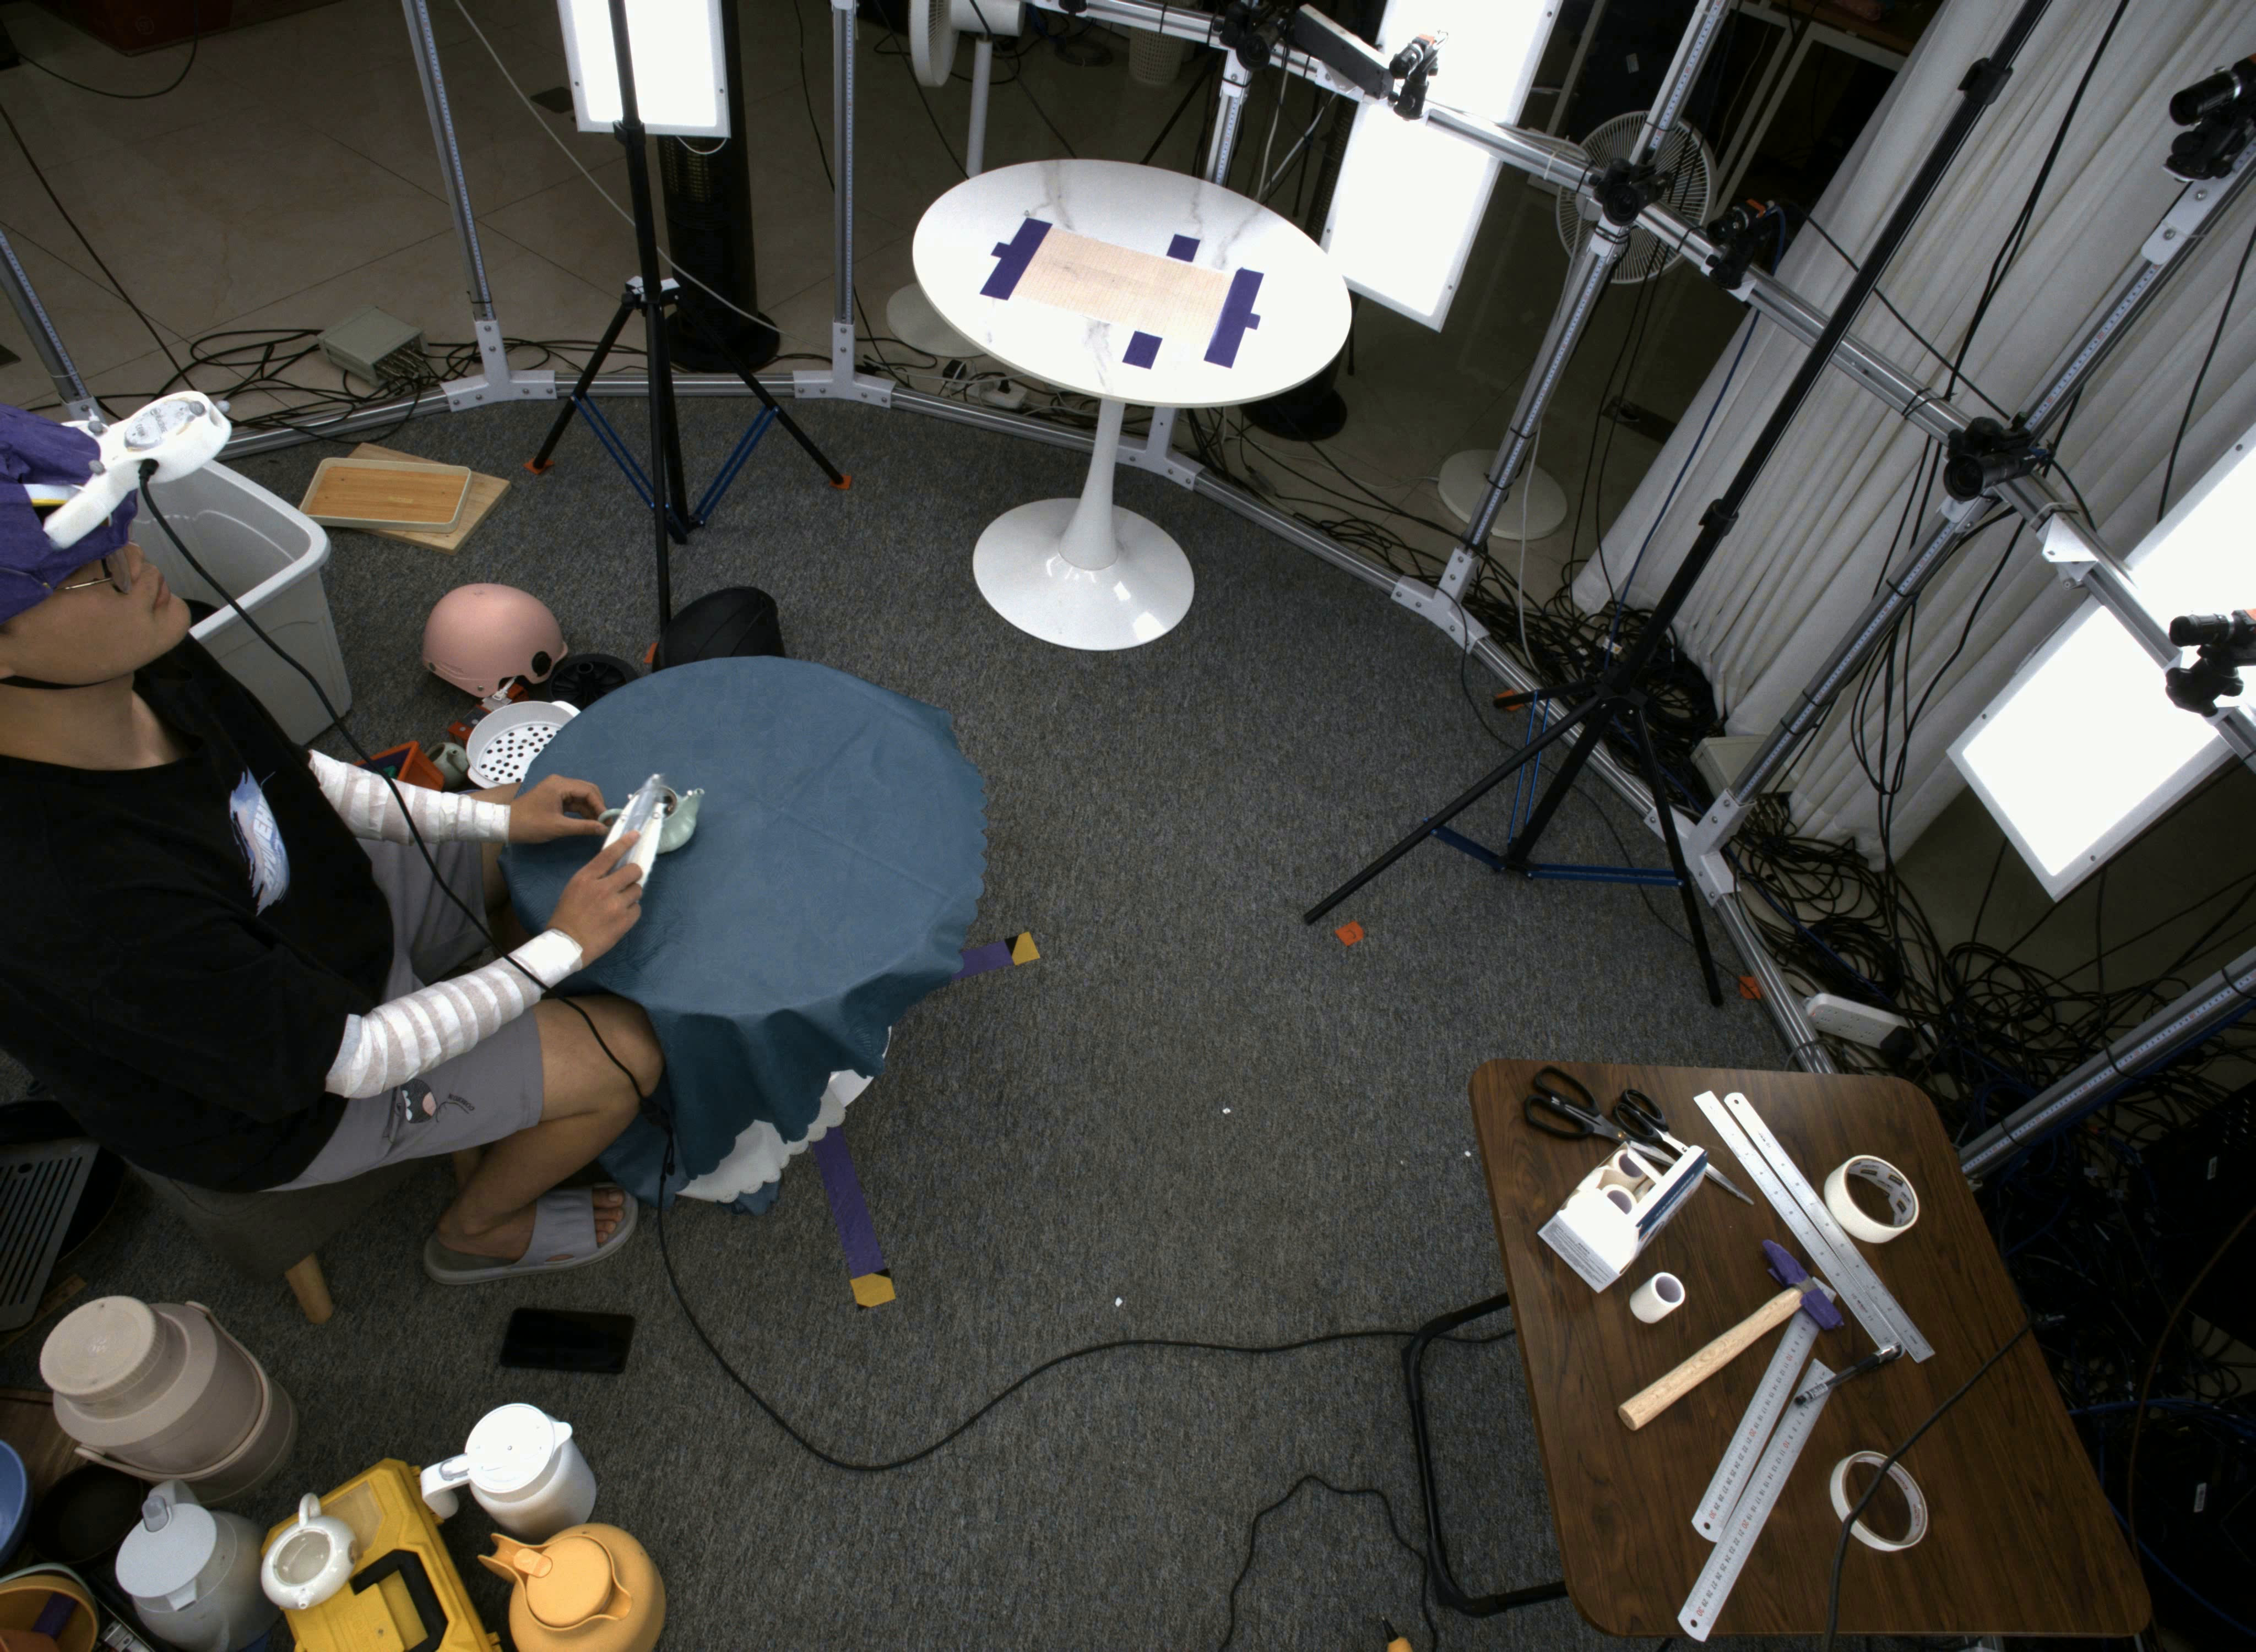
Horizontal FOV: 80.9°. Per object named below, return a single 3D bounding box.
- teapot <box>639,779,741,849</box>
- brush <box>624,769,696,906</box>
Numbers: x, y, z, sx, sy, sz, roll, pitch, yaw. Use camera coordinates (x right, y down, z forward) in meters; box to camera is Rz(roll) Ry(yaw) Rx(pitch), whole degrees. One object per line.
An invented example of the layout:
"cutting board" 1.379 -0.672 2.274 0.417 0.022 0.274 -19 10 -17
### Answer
"teapot" -0.568 -0.021 1.675 0.137 0.062 0.094 -16 61 -23
"brush" -0.568 0.005 1.581 0.062 0.093 0.176 21 78 -15
